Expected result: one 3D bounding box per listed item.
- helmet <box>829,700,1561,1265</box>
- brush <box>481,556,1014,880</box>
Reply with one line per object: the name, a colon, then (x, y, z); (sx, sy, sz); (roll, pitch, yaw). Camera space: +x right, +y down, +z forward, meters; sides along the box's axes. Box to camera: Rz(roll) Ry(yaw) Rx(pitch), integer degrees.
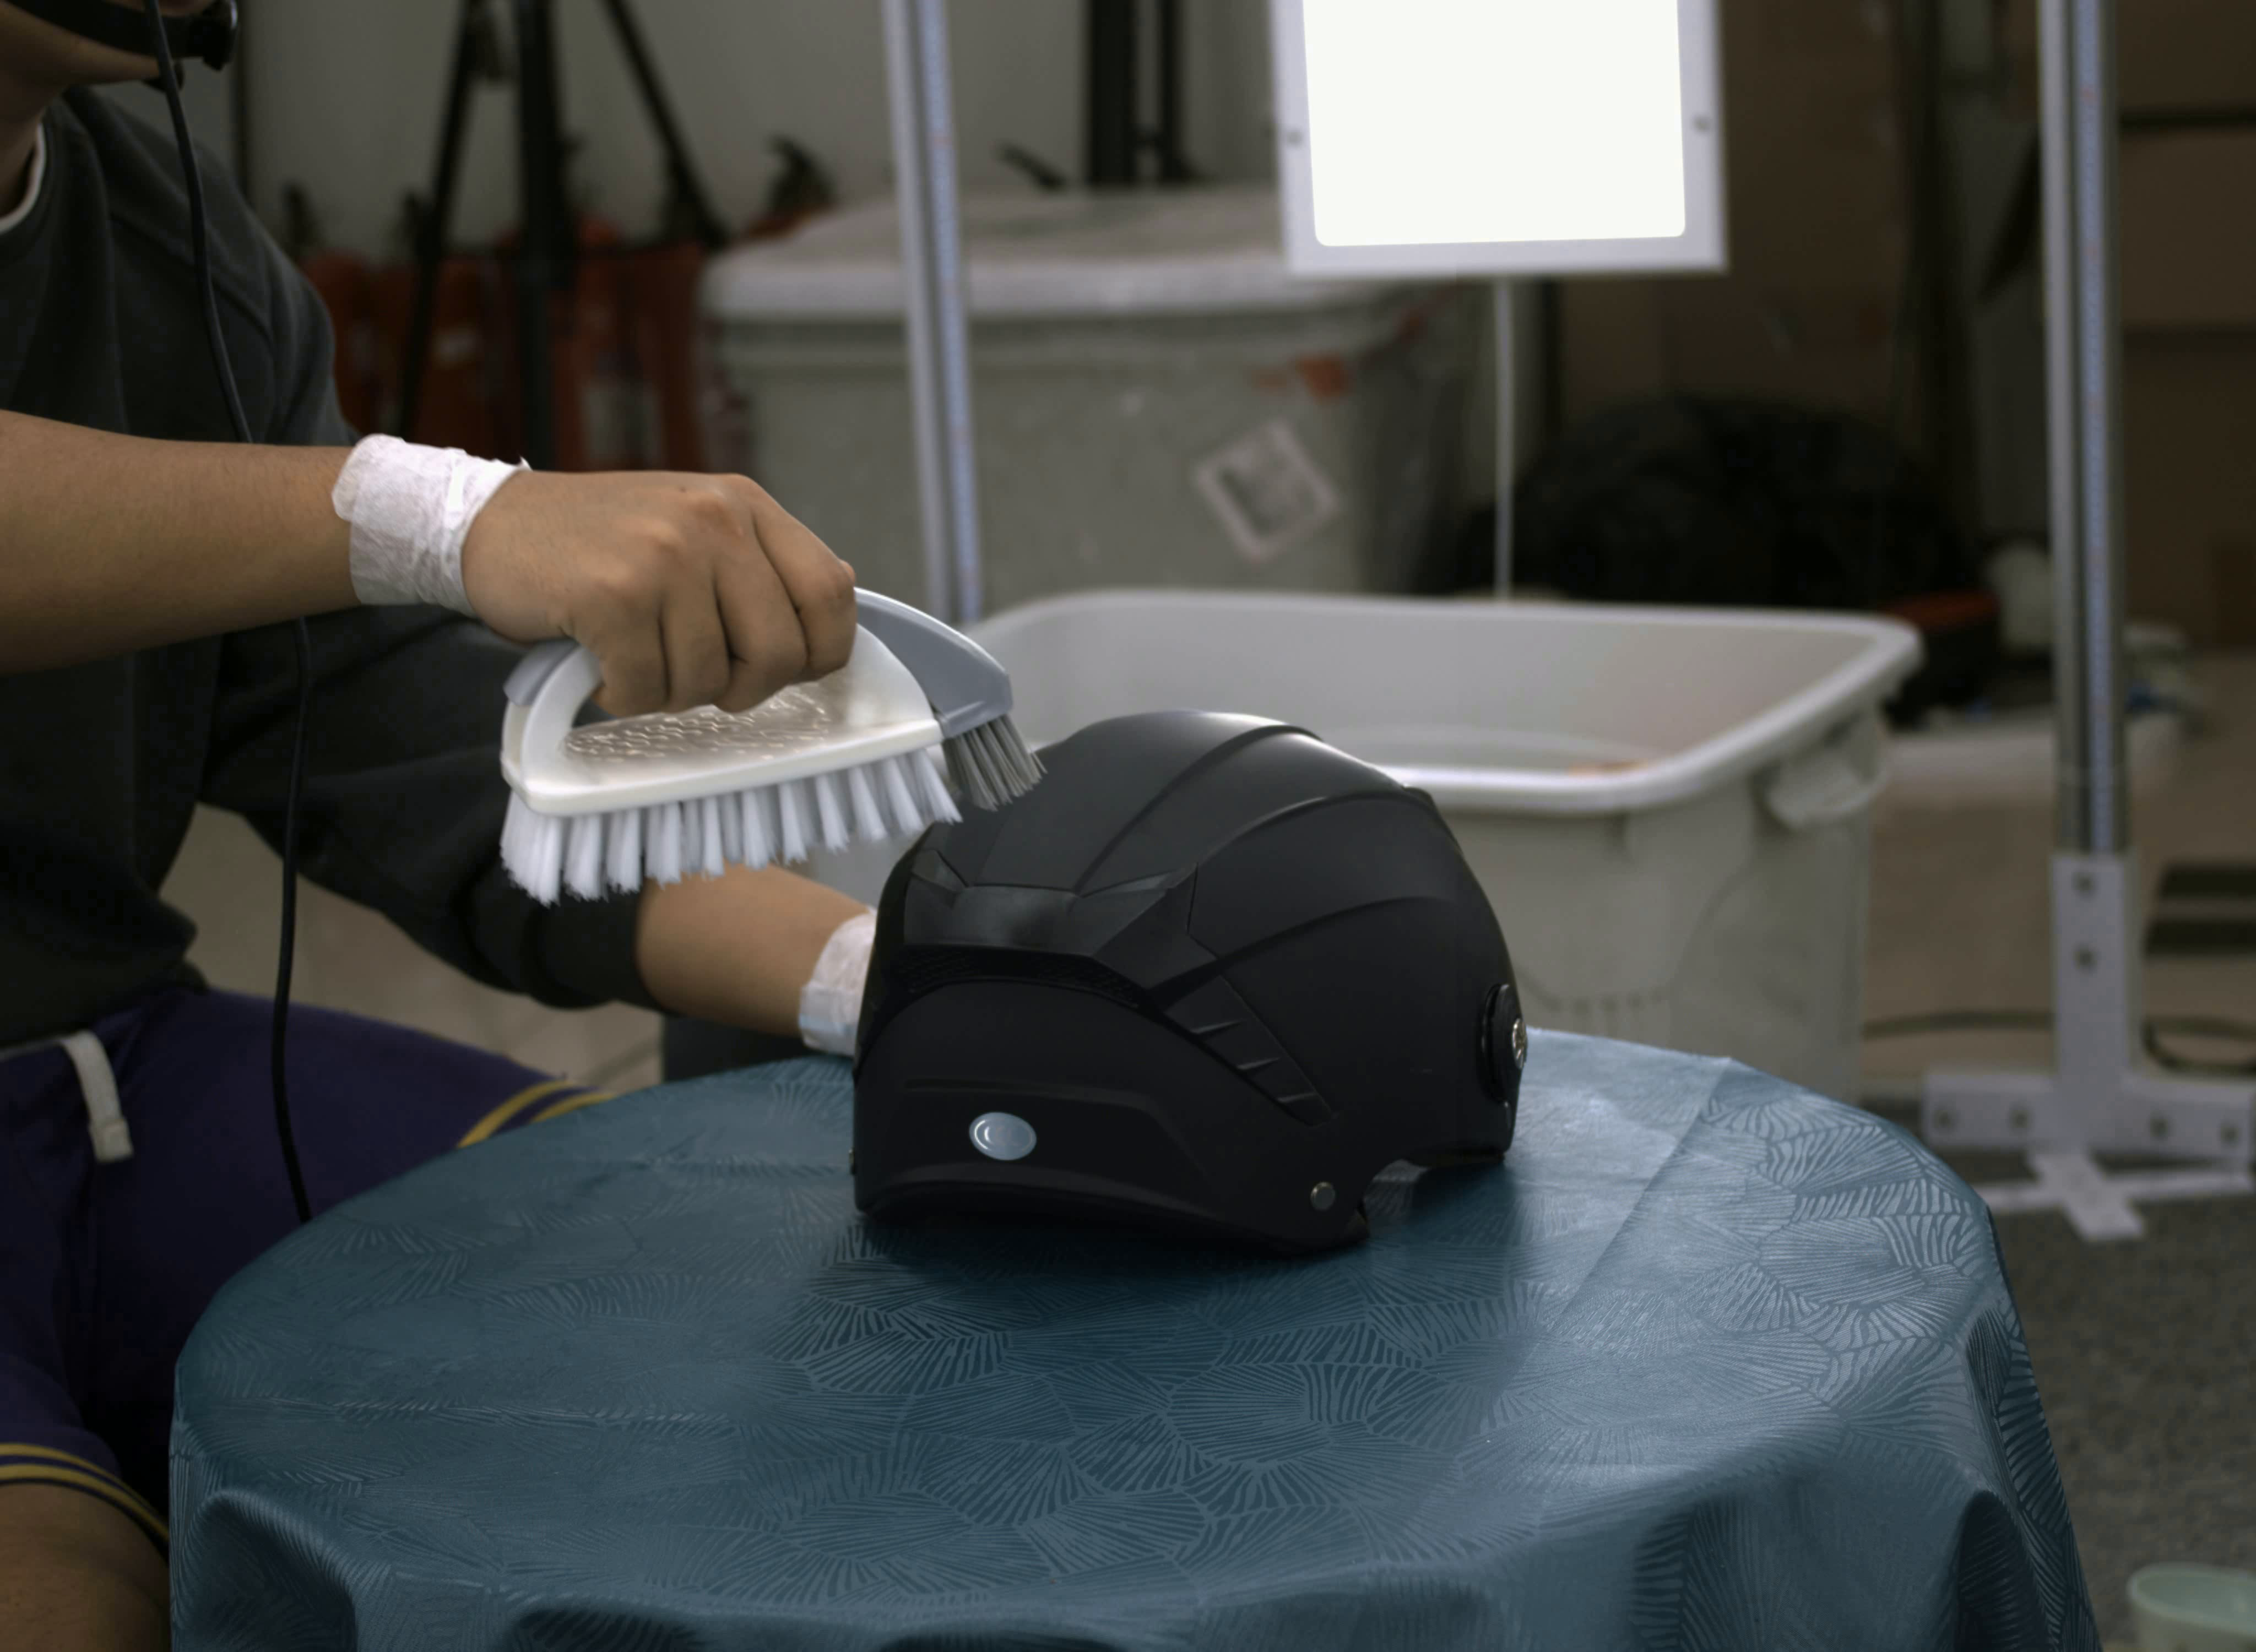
helmet: (0.020, 0.043, 1.897); (0.251, 0.173, 0.270); (4, 21, 29)
brush: (-0.118, -0.042, 1.743); (0.173, 0.095, 0.062); (-7, 23, -16)
